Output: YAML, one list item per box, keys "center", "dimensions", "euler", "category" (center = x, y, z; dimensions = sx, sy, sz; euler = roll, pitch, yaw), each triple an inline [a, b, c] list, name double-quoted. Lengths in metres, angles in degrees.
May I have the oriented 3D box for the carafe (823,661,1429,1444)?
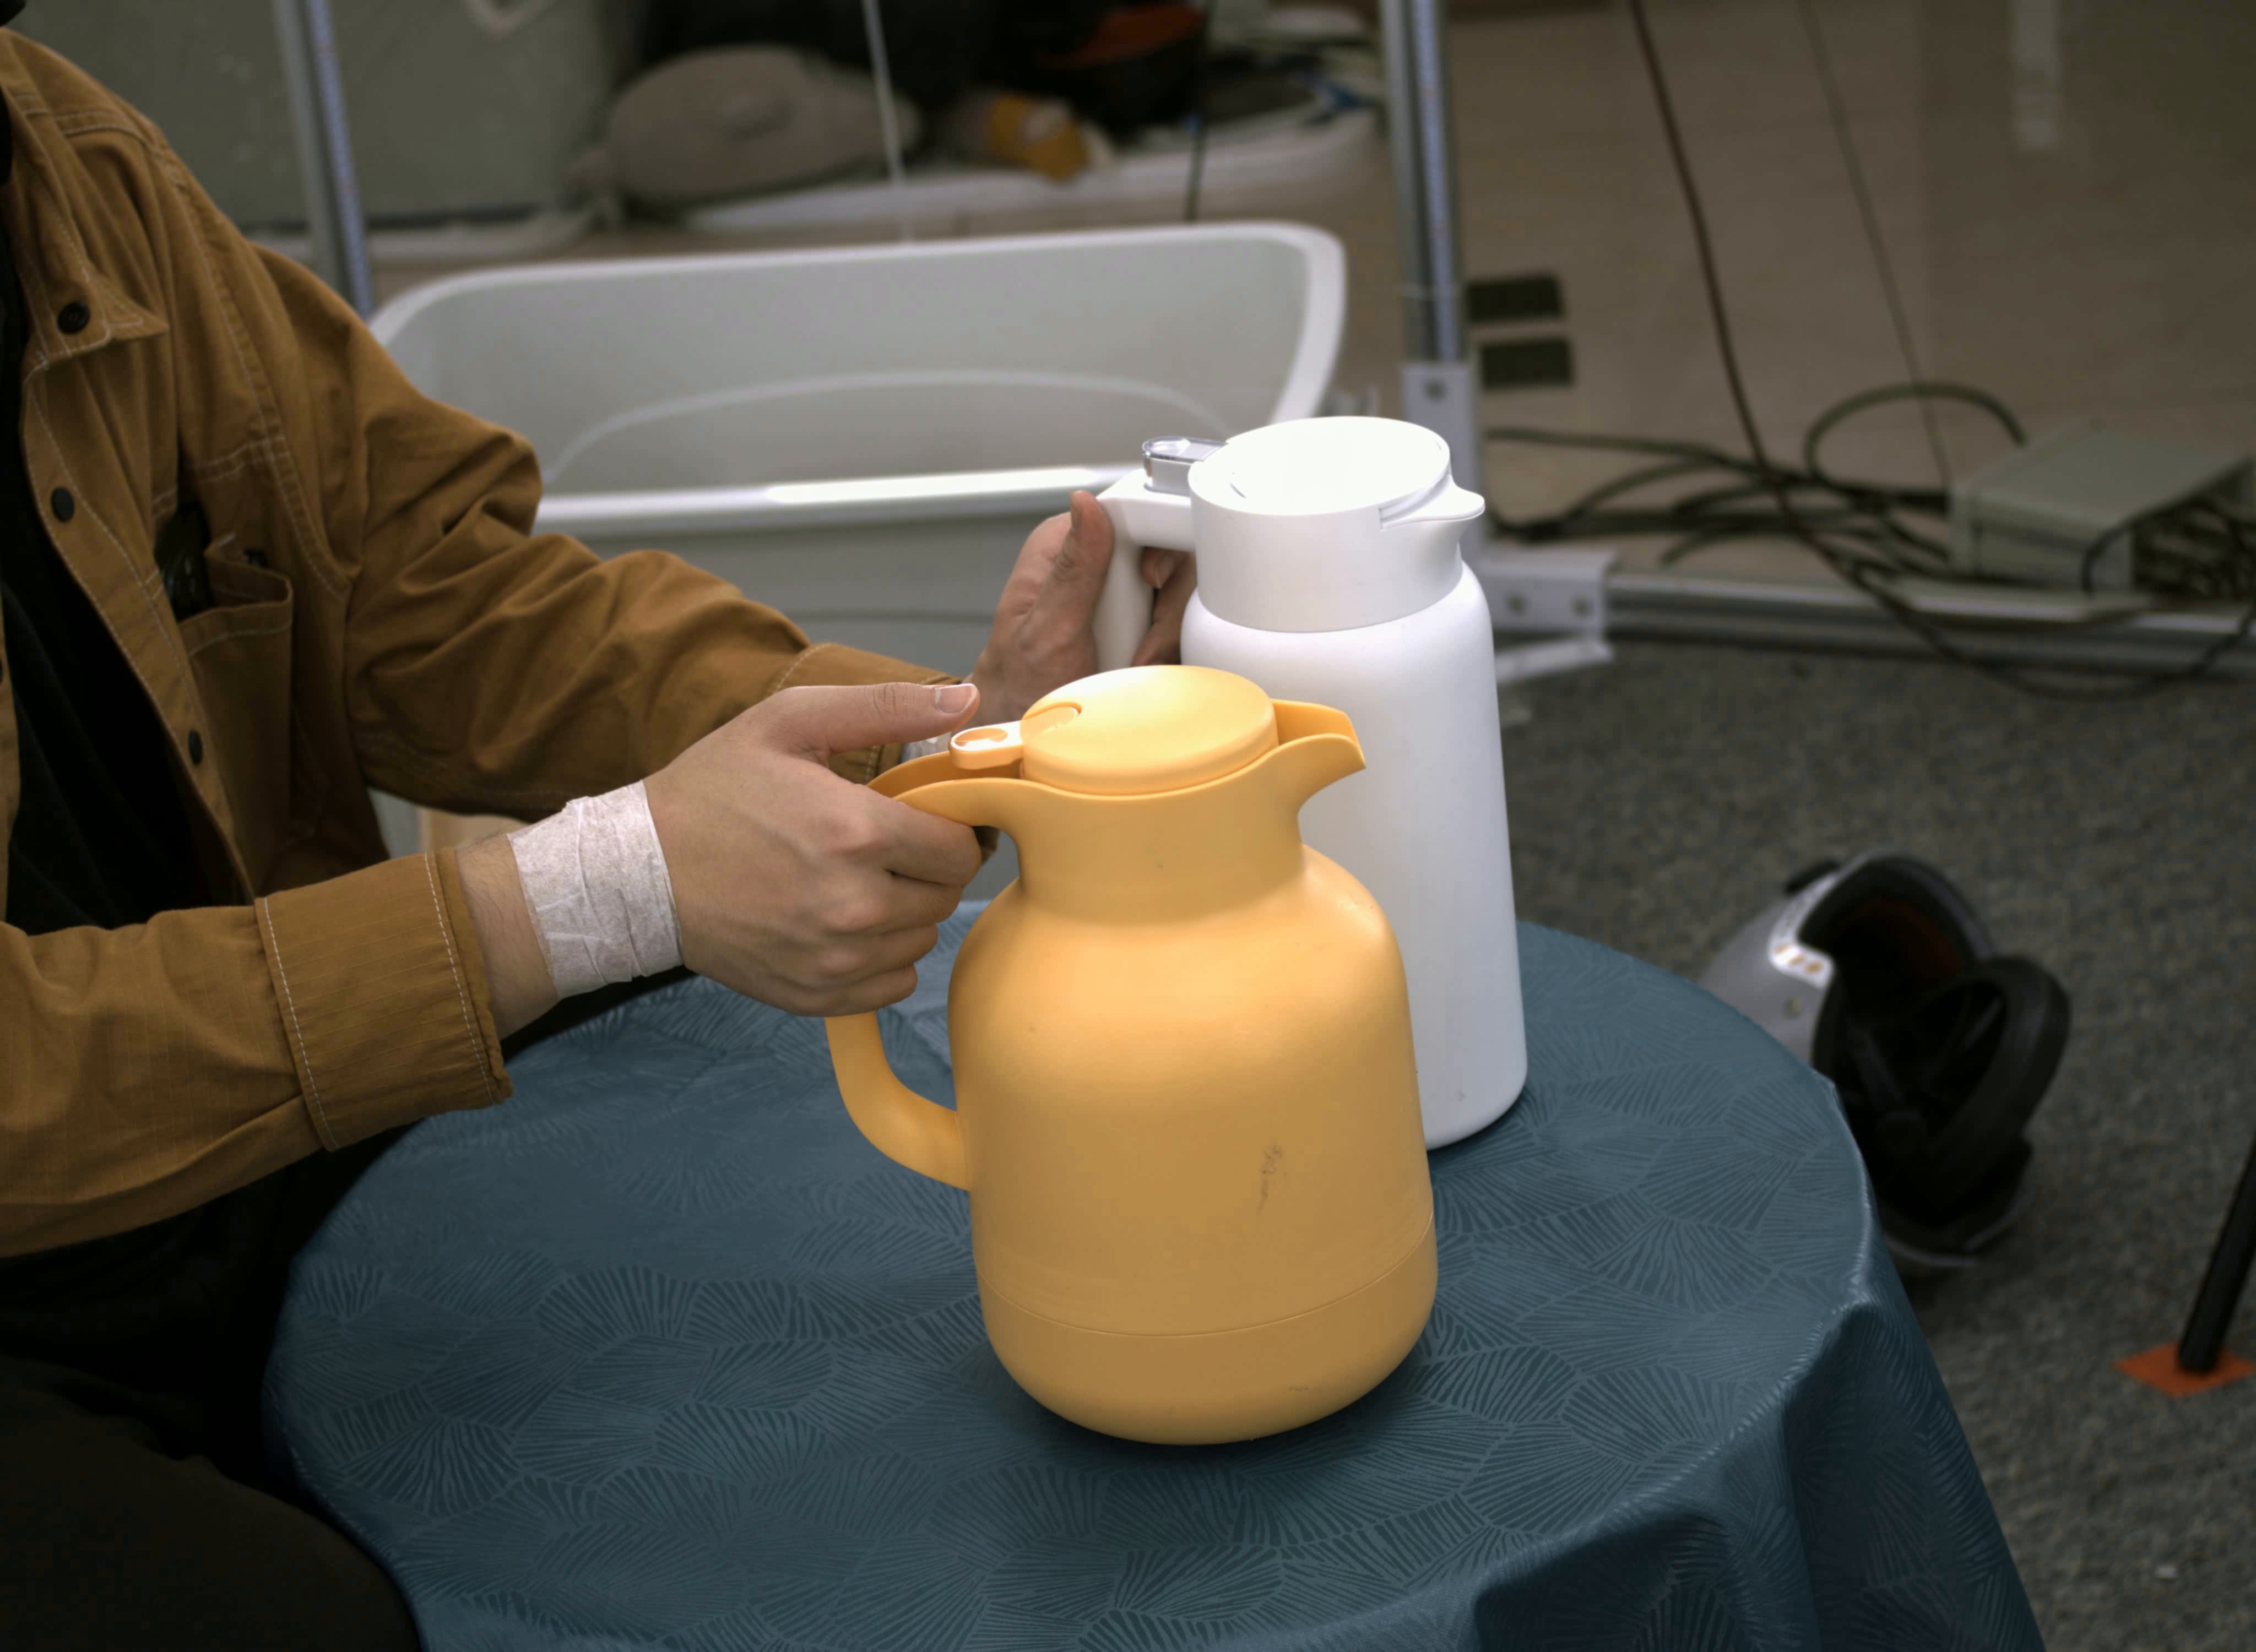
- center: [-0.001, 0.075, 1.970]
  dimensions: [0.202, 0.264, 0.161]
  euler: [-4, 23, 1]
  category: "carafe"

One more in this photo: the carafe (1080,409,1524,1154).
- center: [0.068, -0.017, 2.146]
  dimensions: [0.172, 0.273, 0.122]
  euler: [10, 32, 30]
  category: "carafe"
